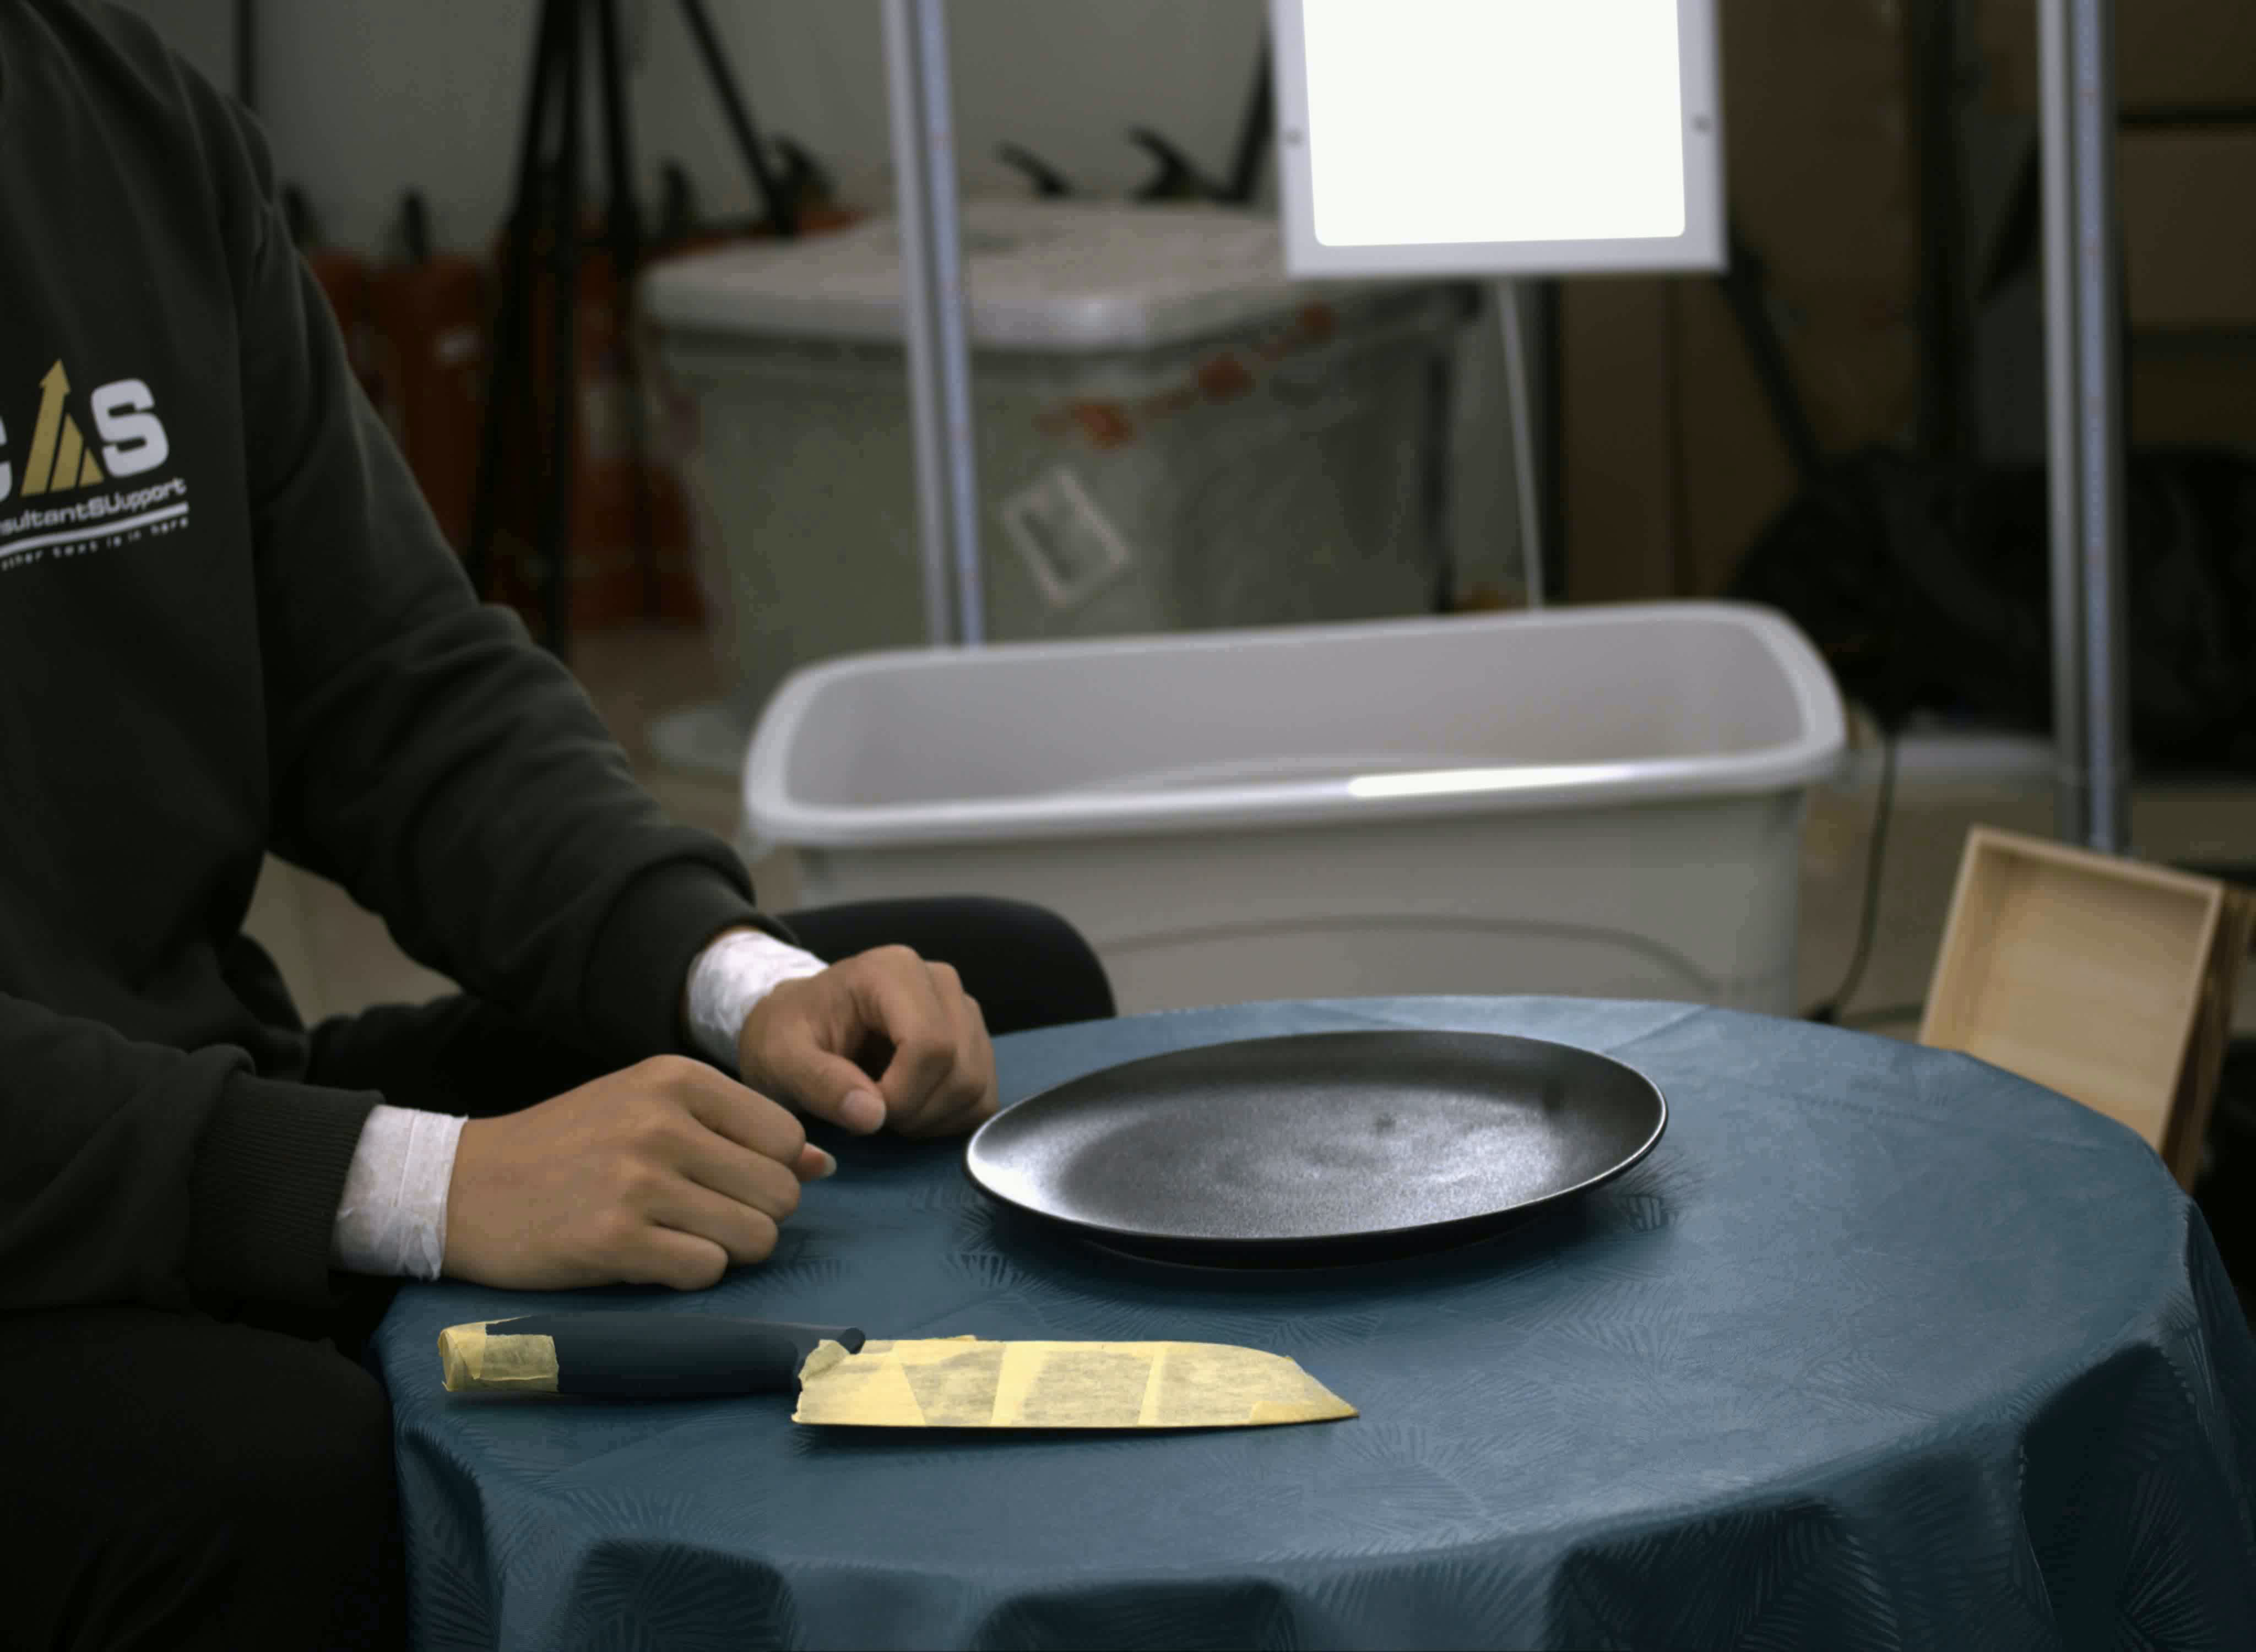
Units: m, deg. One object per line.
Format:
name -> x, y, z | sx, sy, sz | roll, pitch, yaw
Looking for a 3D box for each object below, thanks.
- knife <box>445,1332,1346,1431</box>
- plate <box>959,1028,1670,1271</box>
knife -> -0.075, 0.174, 1.708 | 0.291, 0.027, 0.080 | -2, 12, 11
plate -> 0.065, 0.113, 1.885 | 0.244, 0.023, 0.244 | -5, 14, 0
